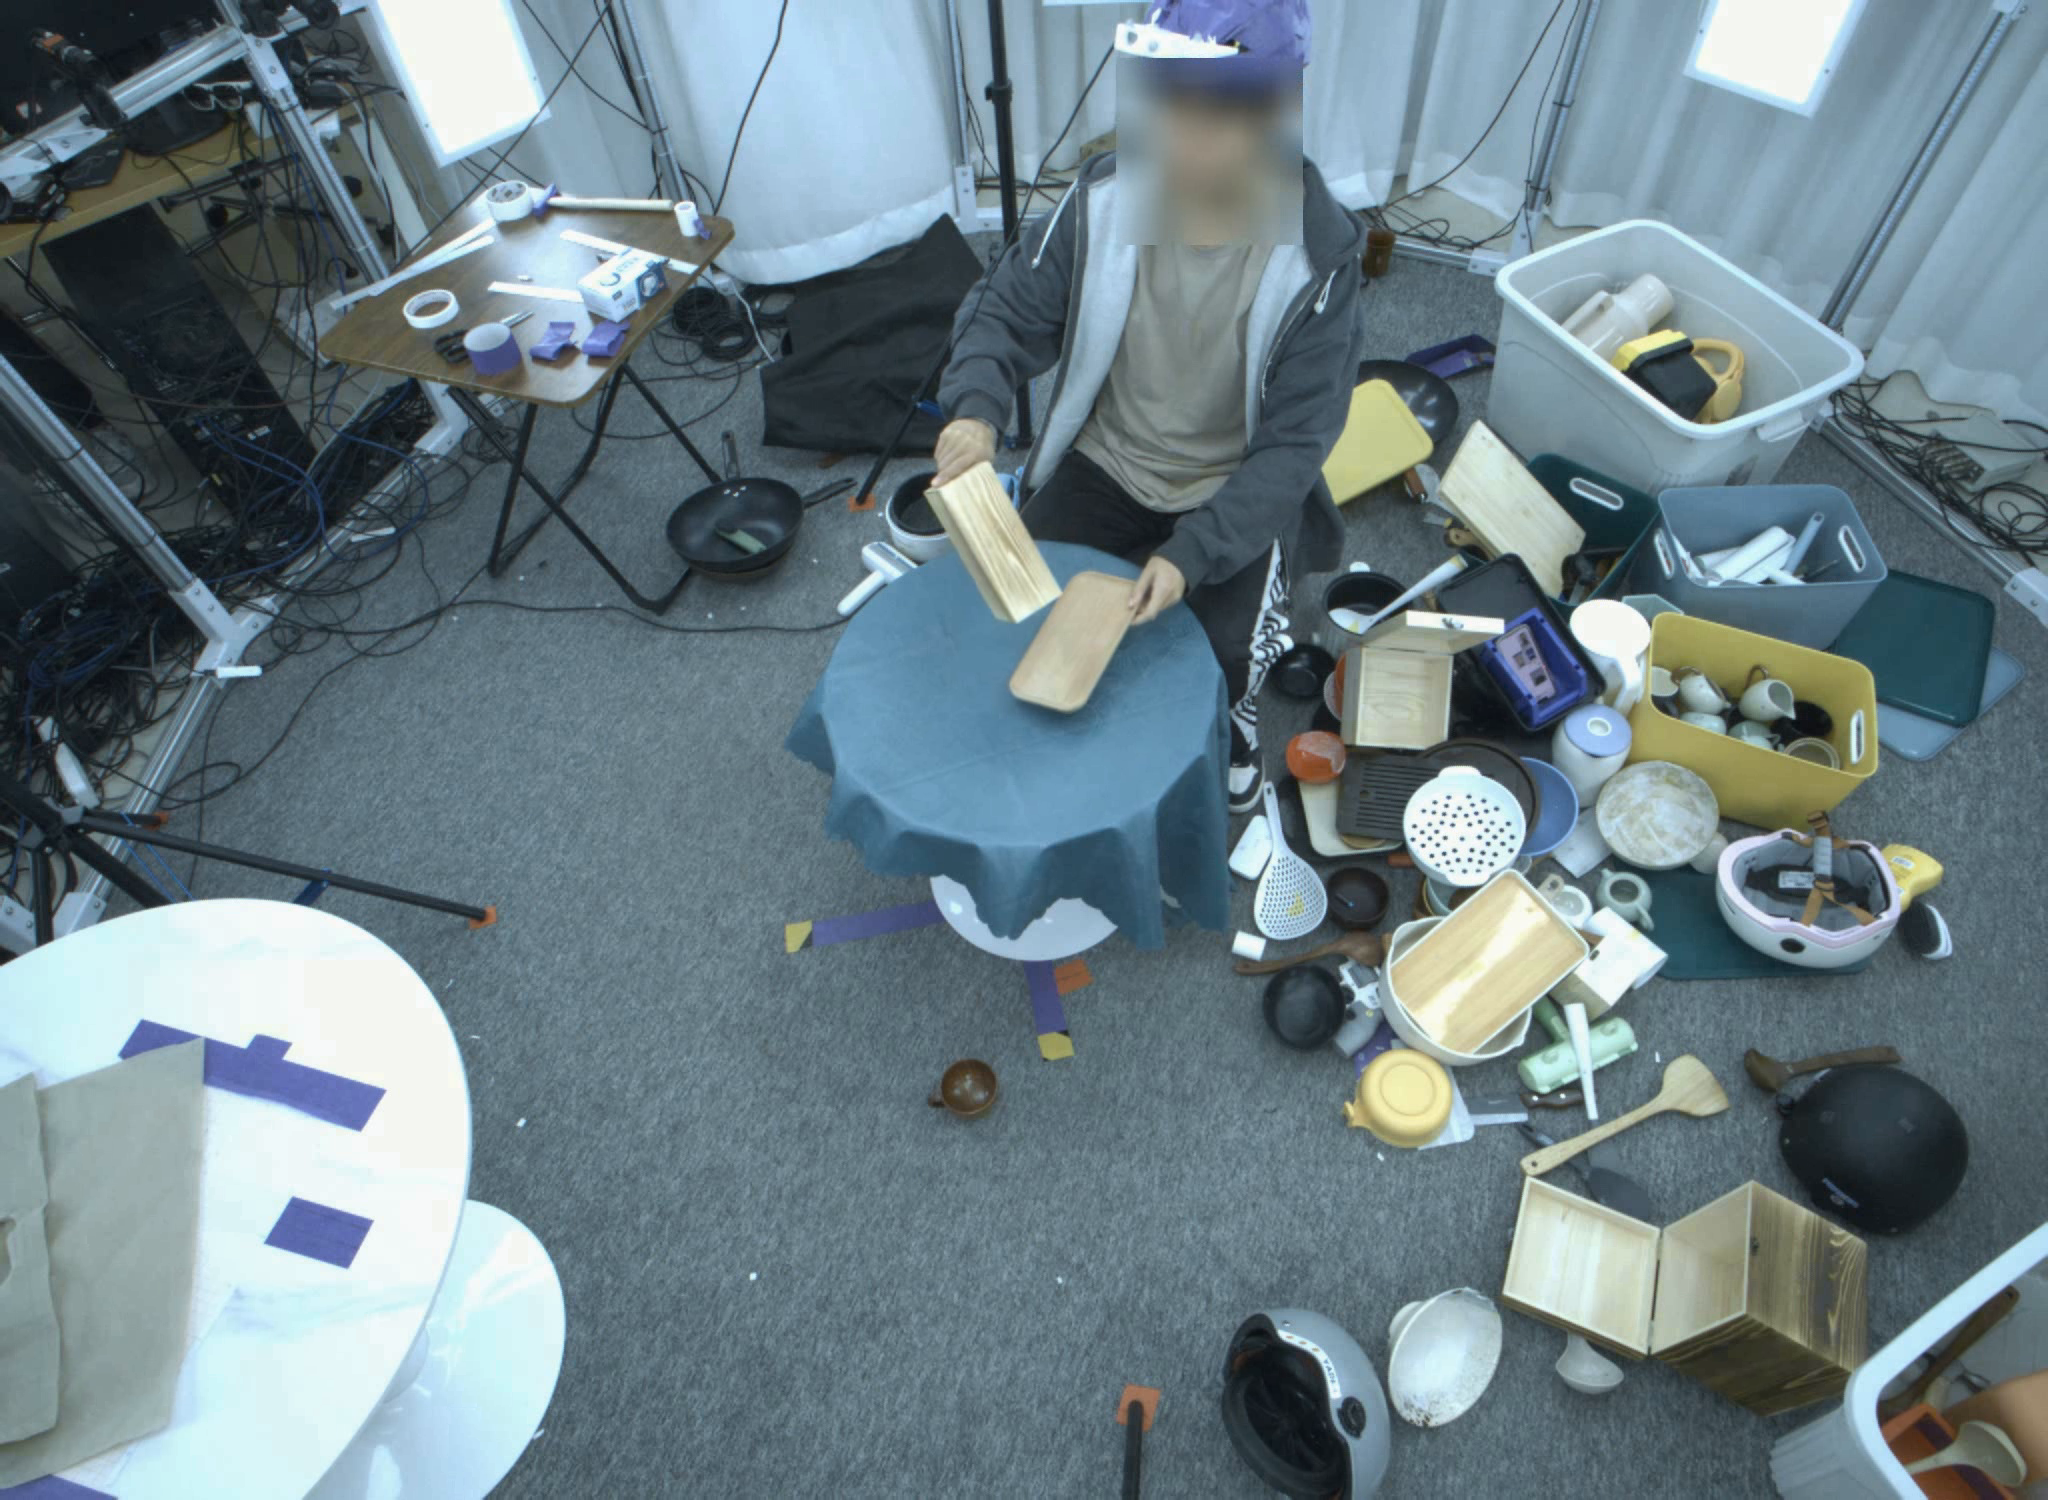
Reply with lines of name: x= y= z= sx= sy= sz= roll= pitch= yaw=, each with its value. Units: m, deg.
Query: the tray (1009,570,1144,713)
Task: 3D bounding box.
tray: x=0.081 y=-0.165 z=1.842 sx=0.128 sy=0.023 sz=0.251 roll=20 pitch=64 yaw=23

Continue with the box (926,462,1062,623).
box: x=-0.045 y=-0.291 z=1.716 sx=0.080 sy=0.214 sz=0.106 roll=-34 pitch=19 yaw=-8
